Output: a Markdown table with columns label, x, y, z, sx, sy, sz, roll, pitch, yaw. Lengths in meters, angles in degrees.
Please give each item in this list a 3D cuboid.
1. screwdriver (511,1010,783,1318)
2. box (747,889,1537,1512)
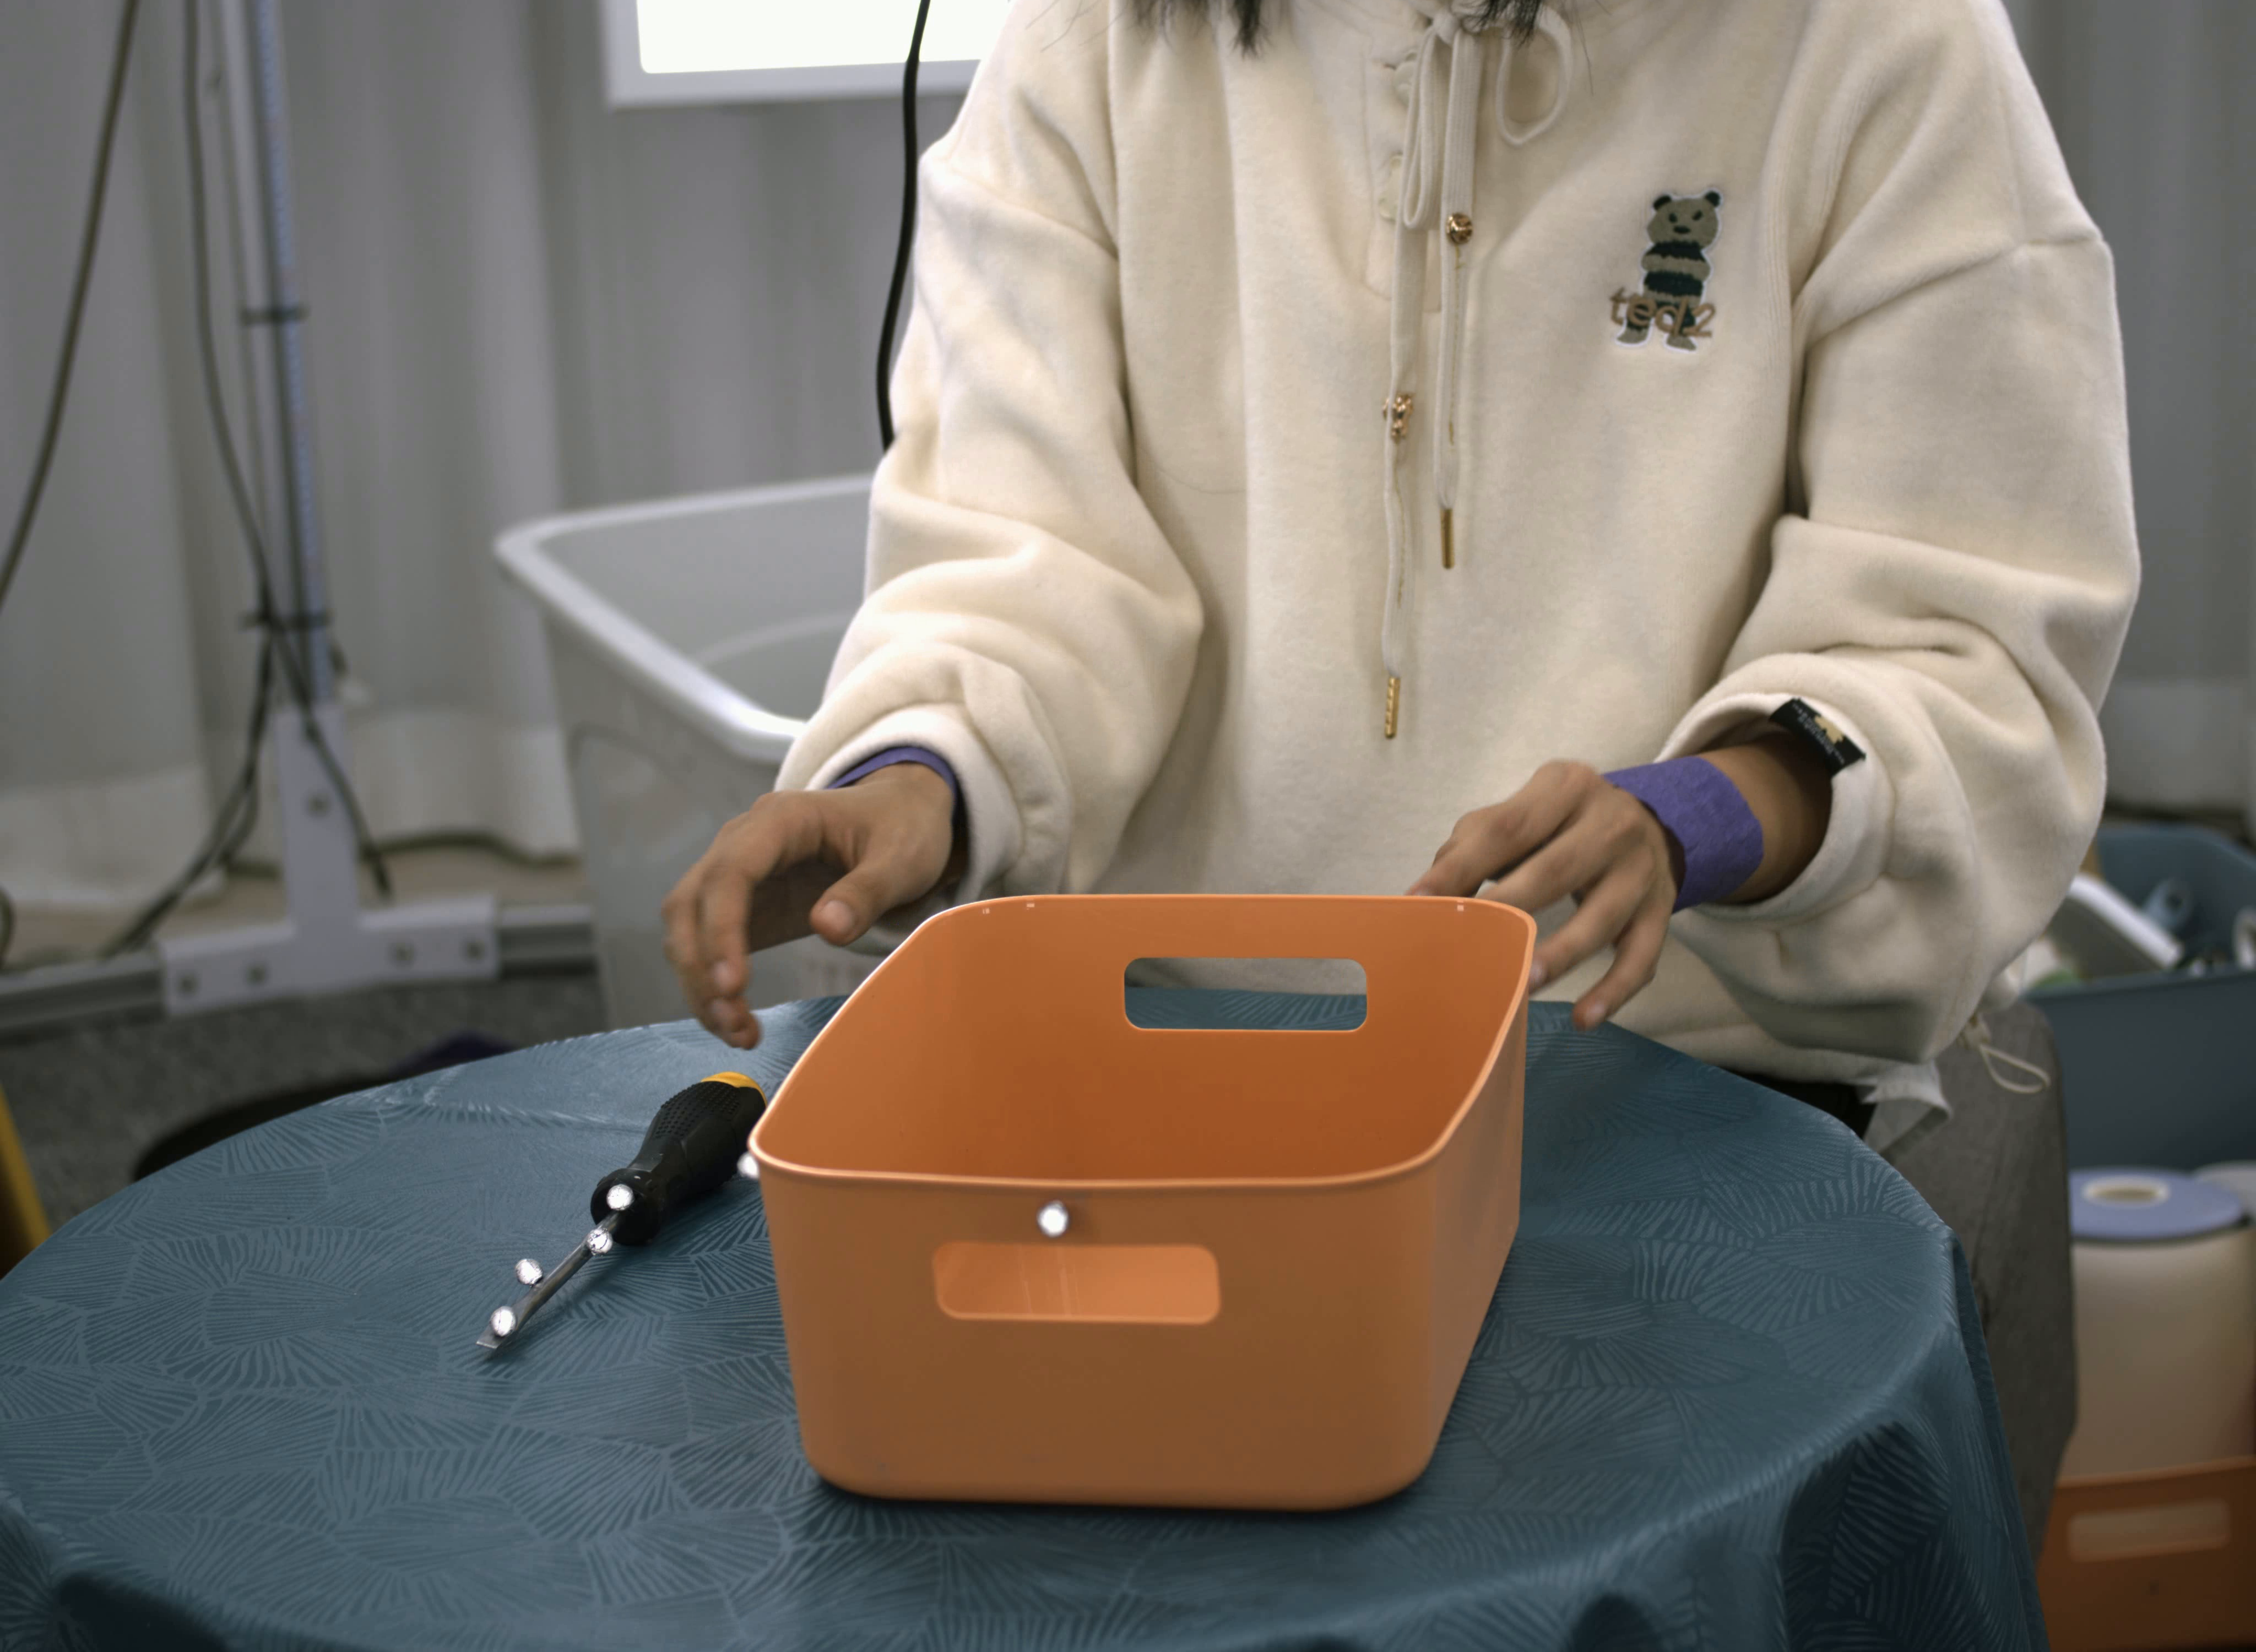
| label | x | y | z | sx | sy | sz | roll | pitch | yaw |
| --- | --- | --- | --- | --- | --- | --- | --- | --- | --- |
| screwdriver | -0.146 | 0.106 | 1.685 | 0.031 | 0.031 | 0.199 | 1 | 24 | 15 |
| box | 0.013 | 0.103 | 1.554 | 0.199 | 0.102 | 0.274 | -1 | 15 | 11 |
